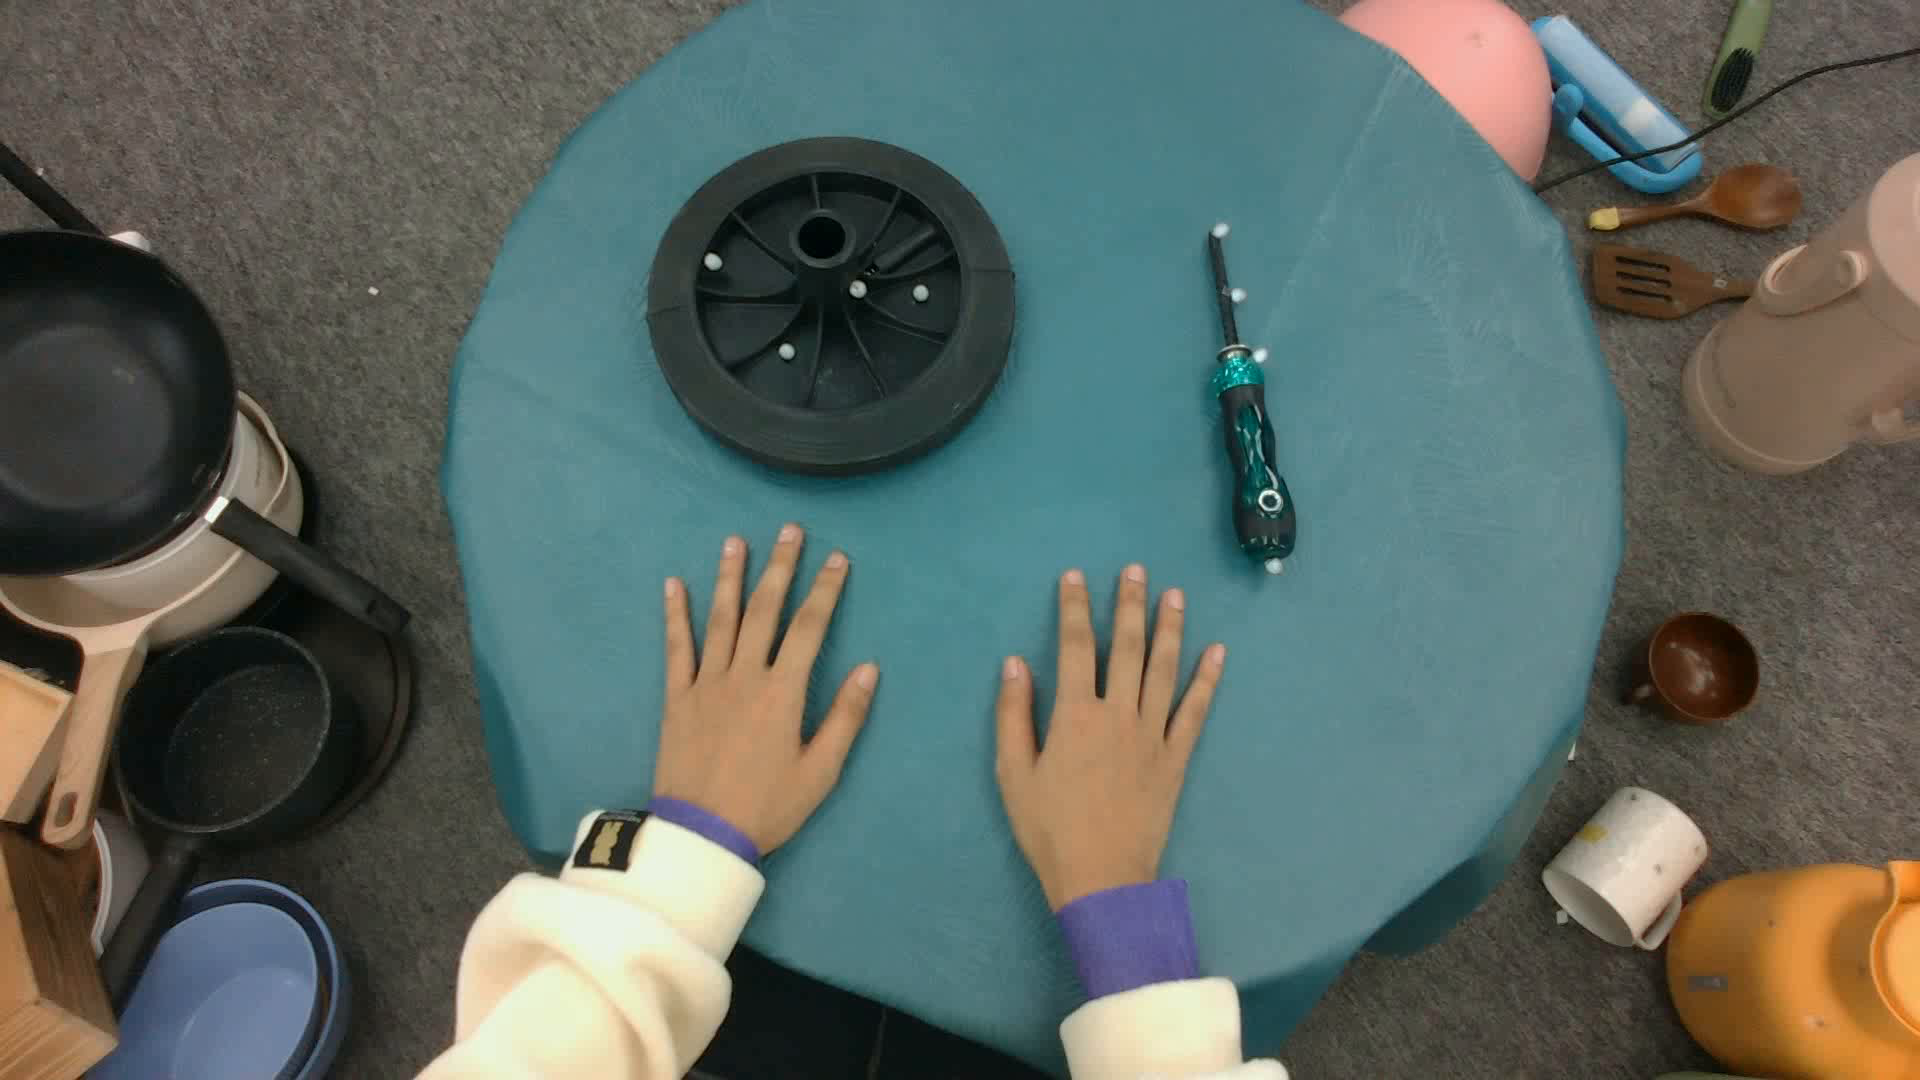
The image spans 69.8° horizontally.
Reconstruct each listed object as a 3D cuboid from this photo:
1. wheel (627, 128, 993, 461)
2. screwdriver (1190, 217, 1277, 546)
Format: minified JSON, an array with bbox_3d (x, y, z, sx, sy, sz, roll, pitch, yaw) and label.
[{"bbox_3d":[-0.075,-0.137,0.690,0.187,0.079,0.190,26,70,7],"label":"wheel"},{"bbox_3d":[0.134,-0.087,0.707,0.034,0.033,0.190,-4,66,-2],"label":"screwdriver"}]
